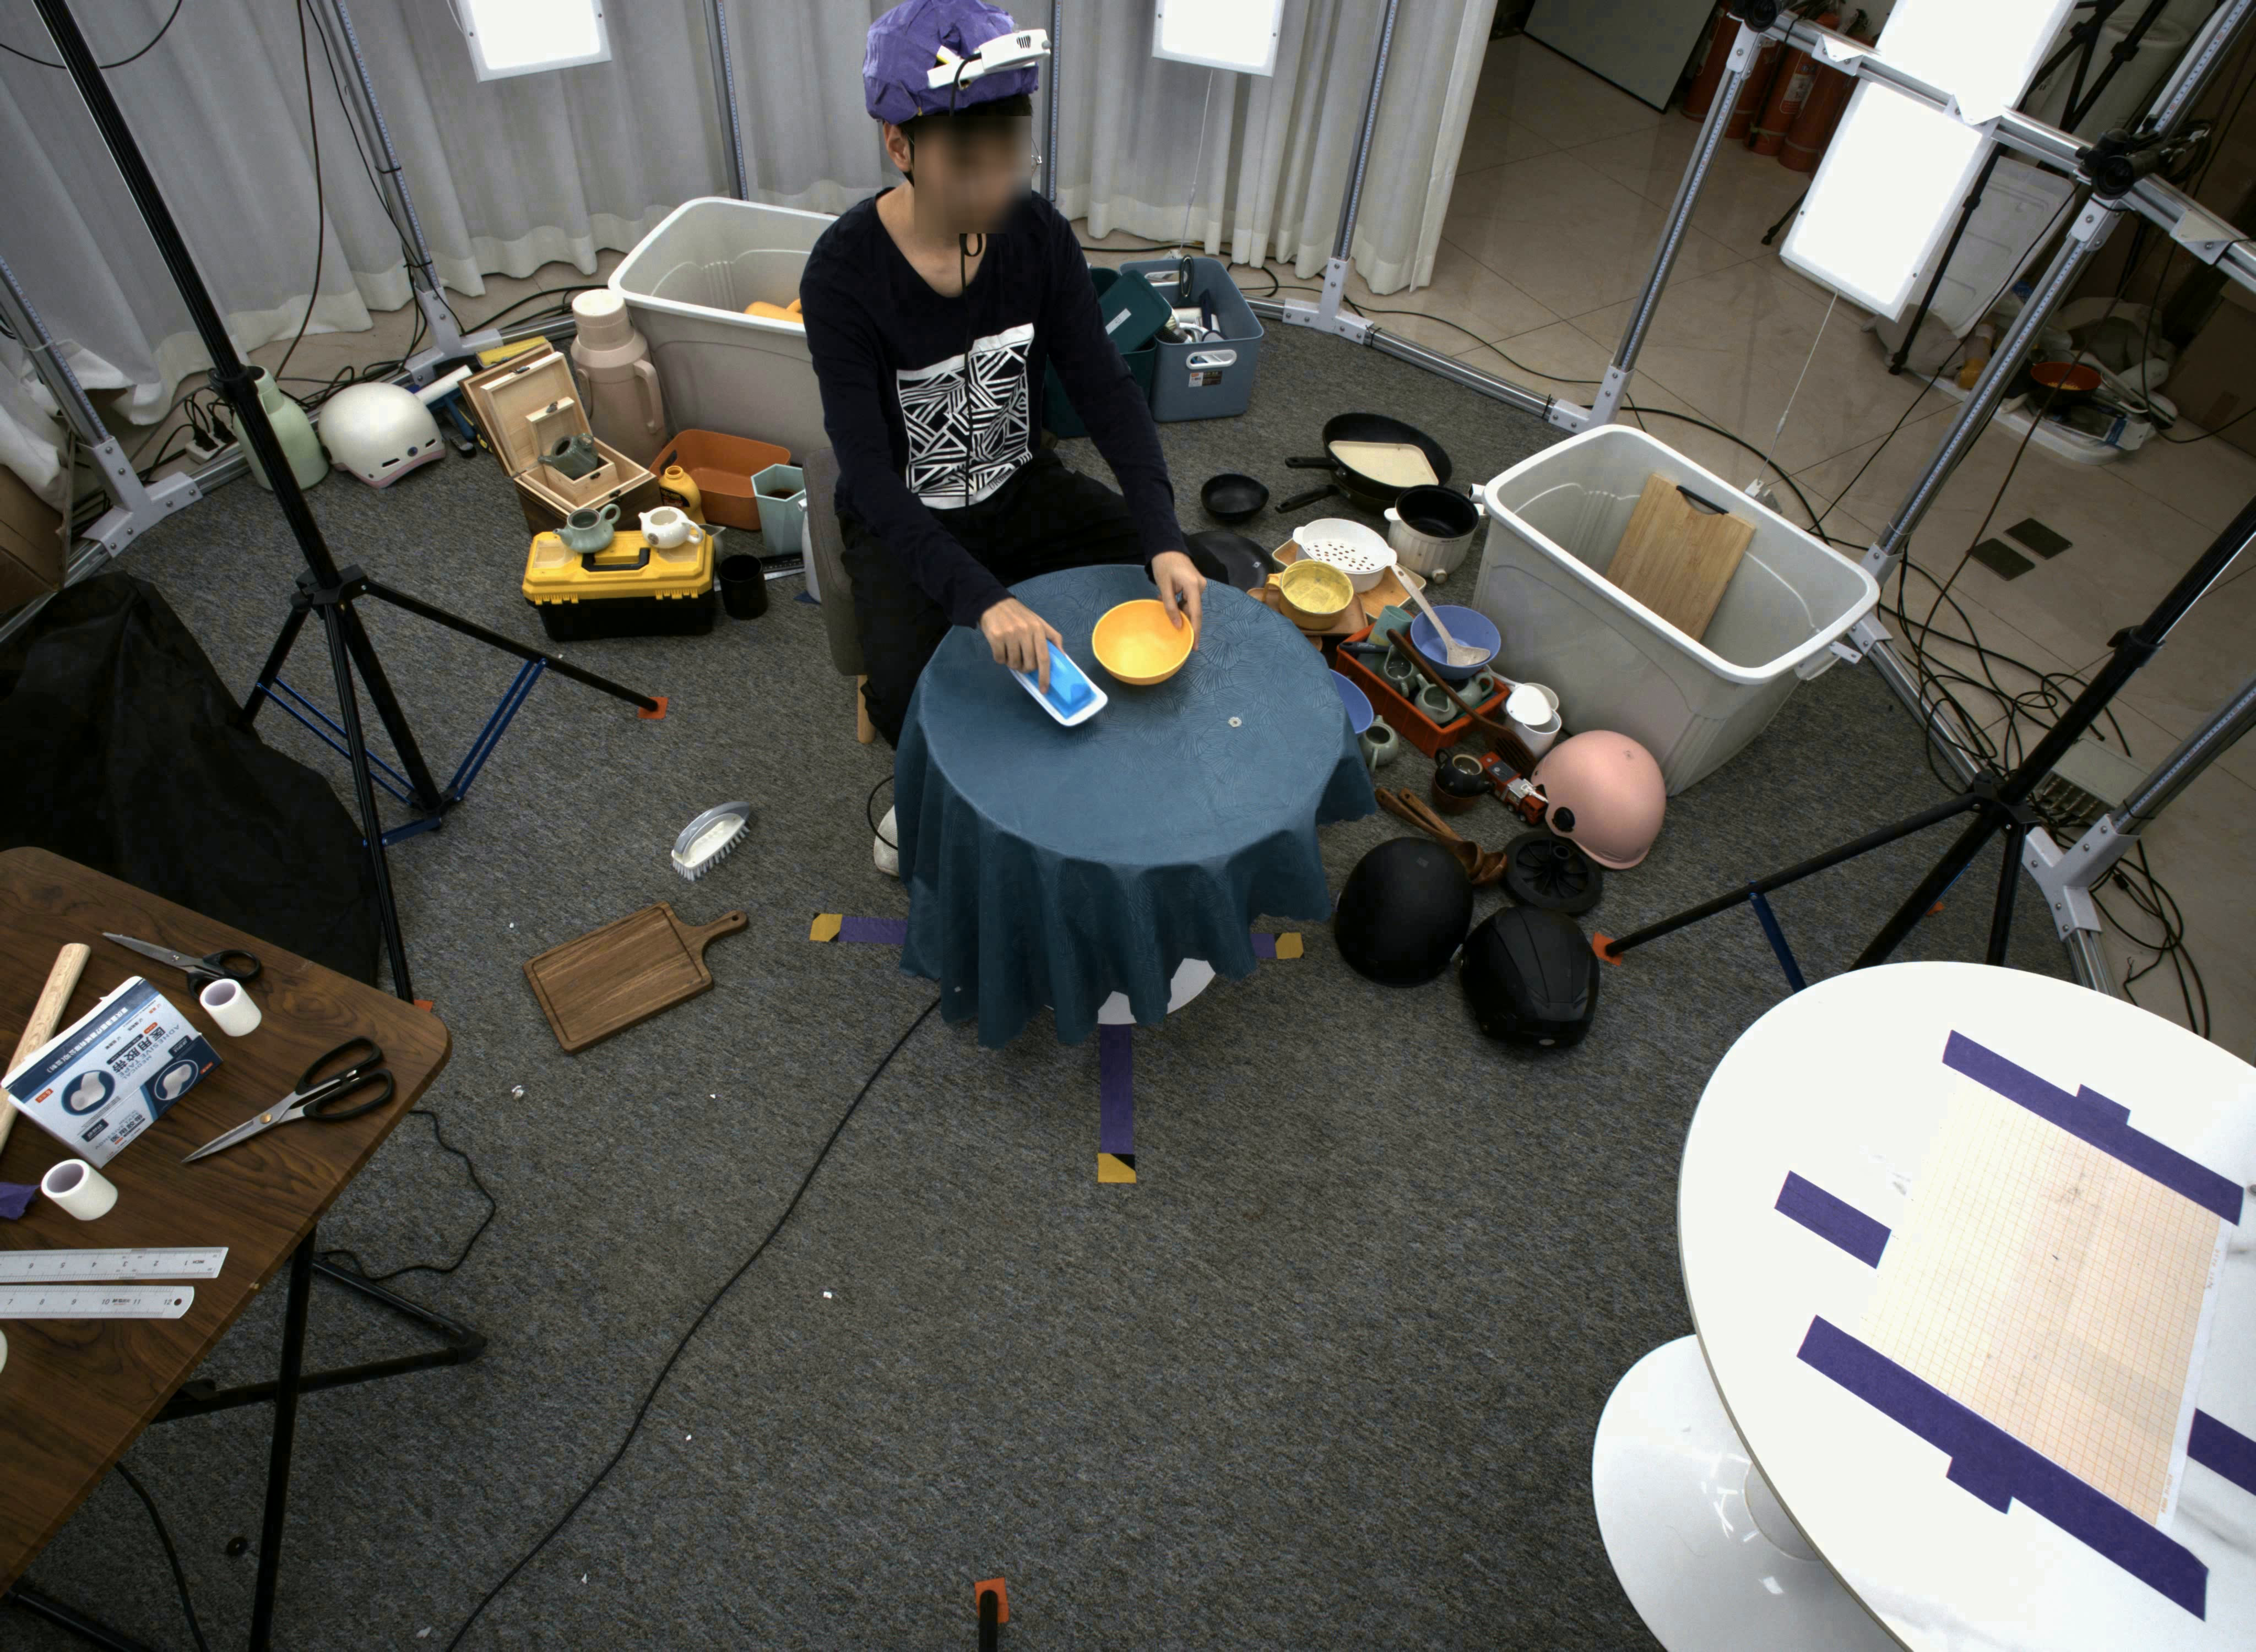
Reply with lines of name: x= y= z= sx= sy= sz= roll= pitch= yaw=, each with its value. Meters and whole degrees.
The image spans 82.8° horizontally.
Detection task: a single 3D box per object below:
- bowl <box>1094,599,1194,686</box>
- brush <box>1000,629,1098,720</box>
bowl: x=0.024 y=-0.253 z=1.845 sx=0.145 sy=0.059 sz=0.149 roll=-2 pitch=57 yaw=3
brush: x=-0.106 y=-0.216 z=1.762 sx=0.084 sy=0.055 sz=0.146 roll=-31 pitch=69 yaw=-24
